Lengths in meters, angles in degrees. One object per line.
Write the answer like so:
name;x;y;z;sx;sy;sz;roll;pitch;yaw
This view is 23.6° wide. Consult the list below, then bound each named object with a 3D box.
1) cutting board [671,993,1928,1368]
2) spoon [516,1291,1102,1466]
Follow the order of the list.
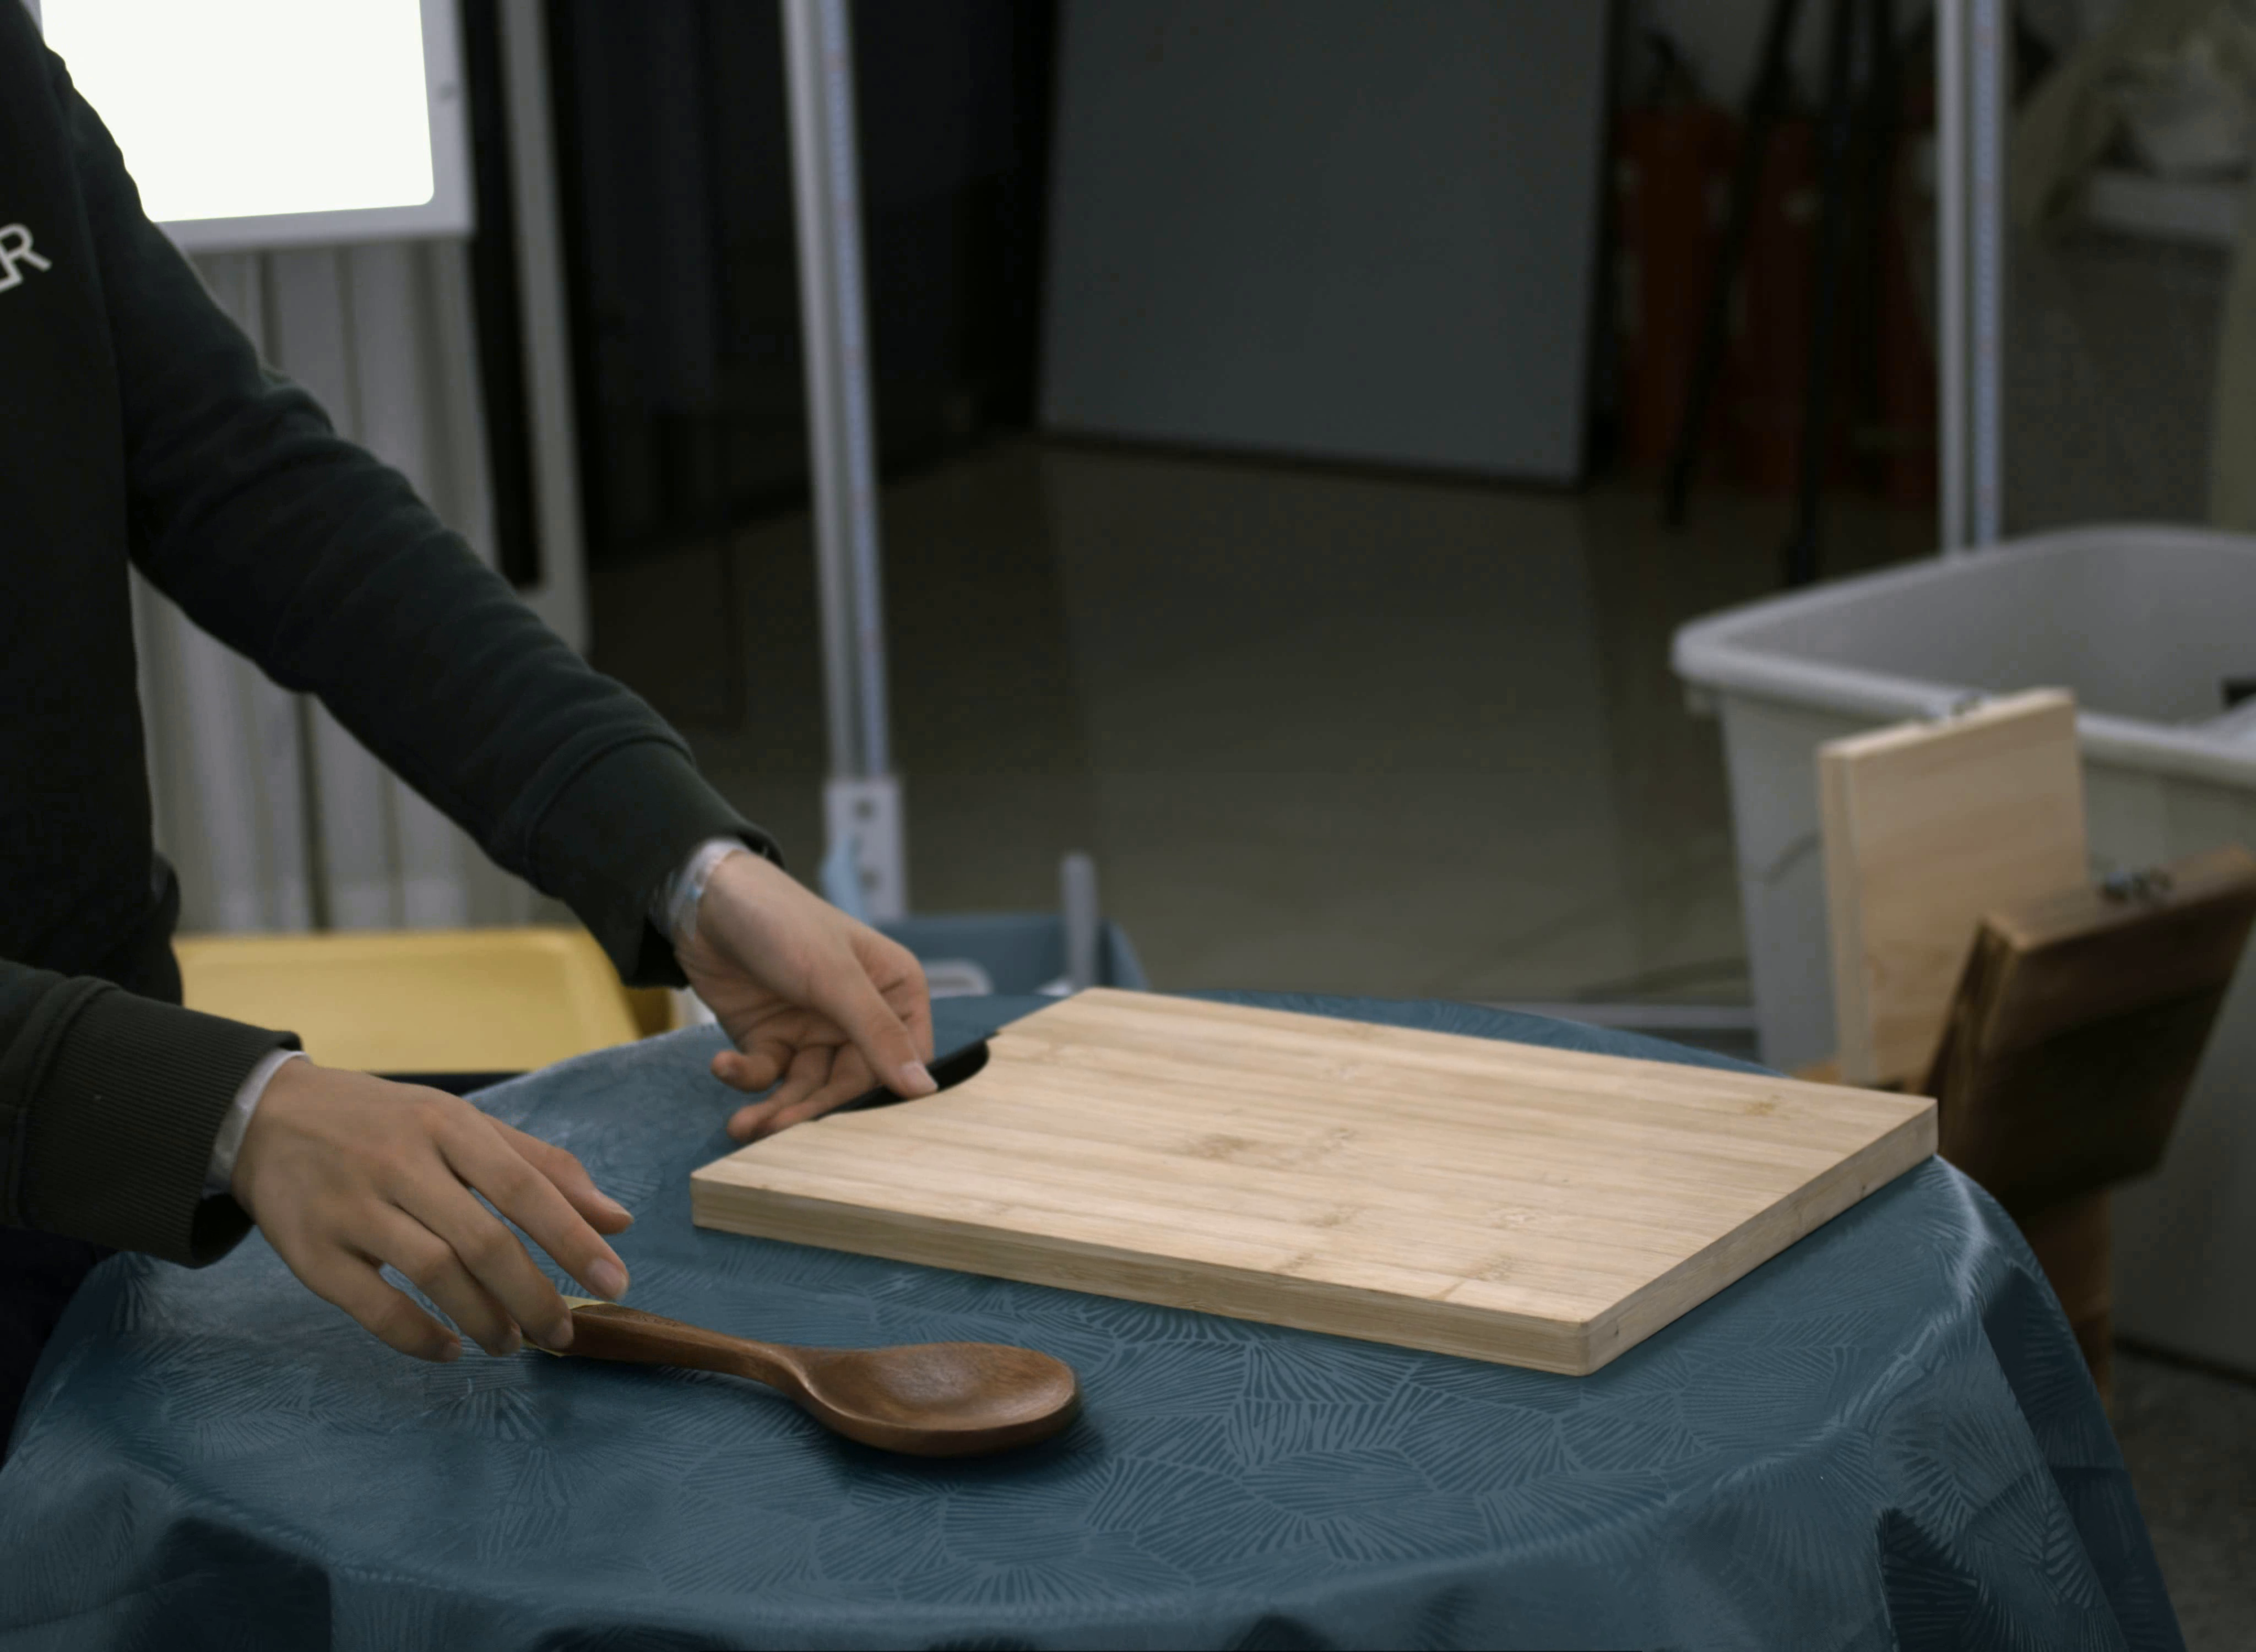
cutting board;0.056;0.111;1.764;0.350;0.024;0.246;5;16;34
spoon;-0.099;0.162;1.599;0.217;0.017;0.074;8;20;38
